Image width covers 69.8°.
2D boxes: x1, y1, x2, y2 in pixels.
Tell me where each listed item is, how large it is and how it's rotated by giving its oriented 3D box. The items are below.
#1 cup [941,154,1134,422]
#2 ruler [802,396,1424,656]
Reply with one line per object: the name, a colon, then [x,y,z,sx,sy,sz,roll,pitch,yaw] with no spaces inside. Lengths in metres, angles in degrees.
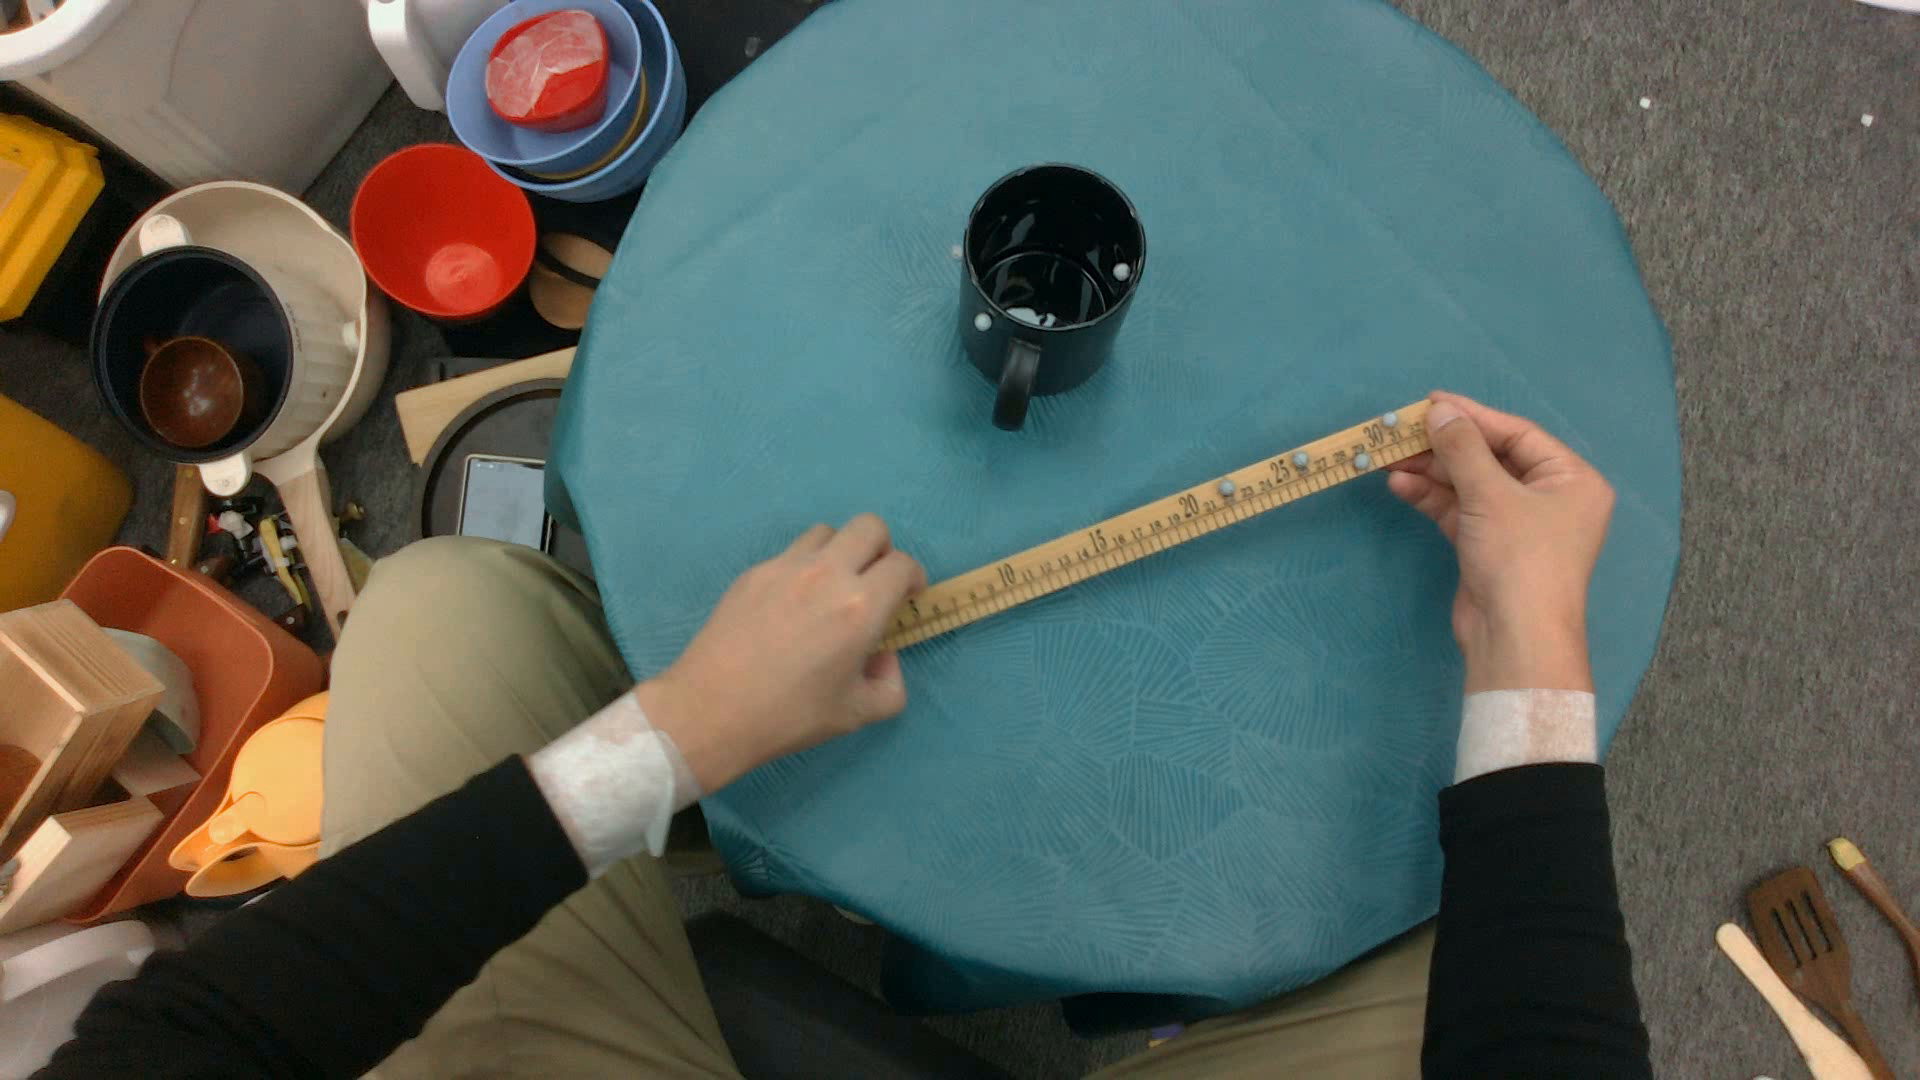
cup: [0.032,-0.119,0.704,0.088,0.105,0.124,18,78,-1]
ruler: [0.079,-0.008,0.704,0.332,0.022,0.027,-20,79,-1]
